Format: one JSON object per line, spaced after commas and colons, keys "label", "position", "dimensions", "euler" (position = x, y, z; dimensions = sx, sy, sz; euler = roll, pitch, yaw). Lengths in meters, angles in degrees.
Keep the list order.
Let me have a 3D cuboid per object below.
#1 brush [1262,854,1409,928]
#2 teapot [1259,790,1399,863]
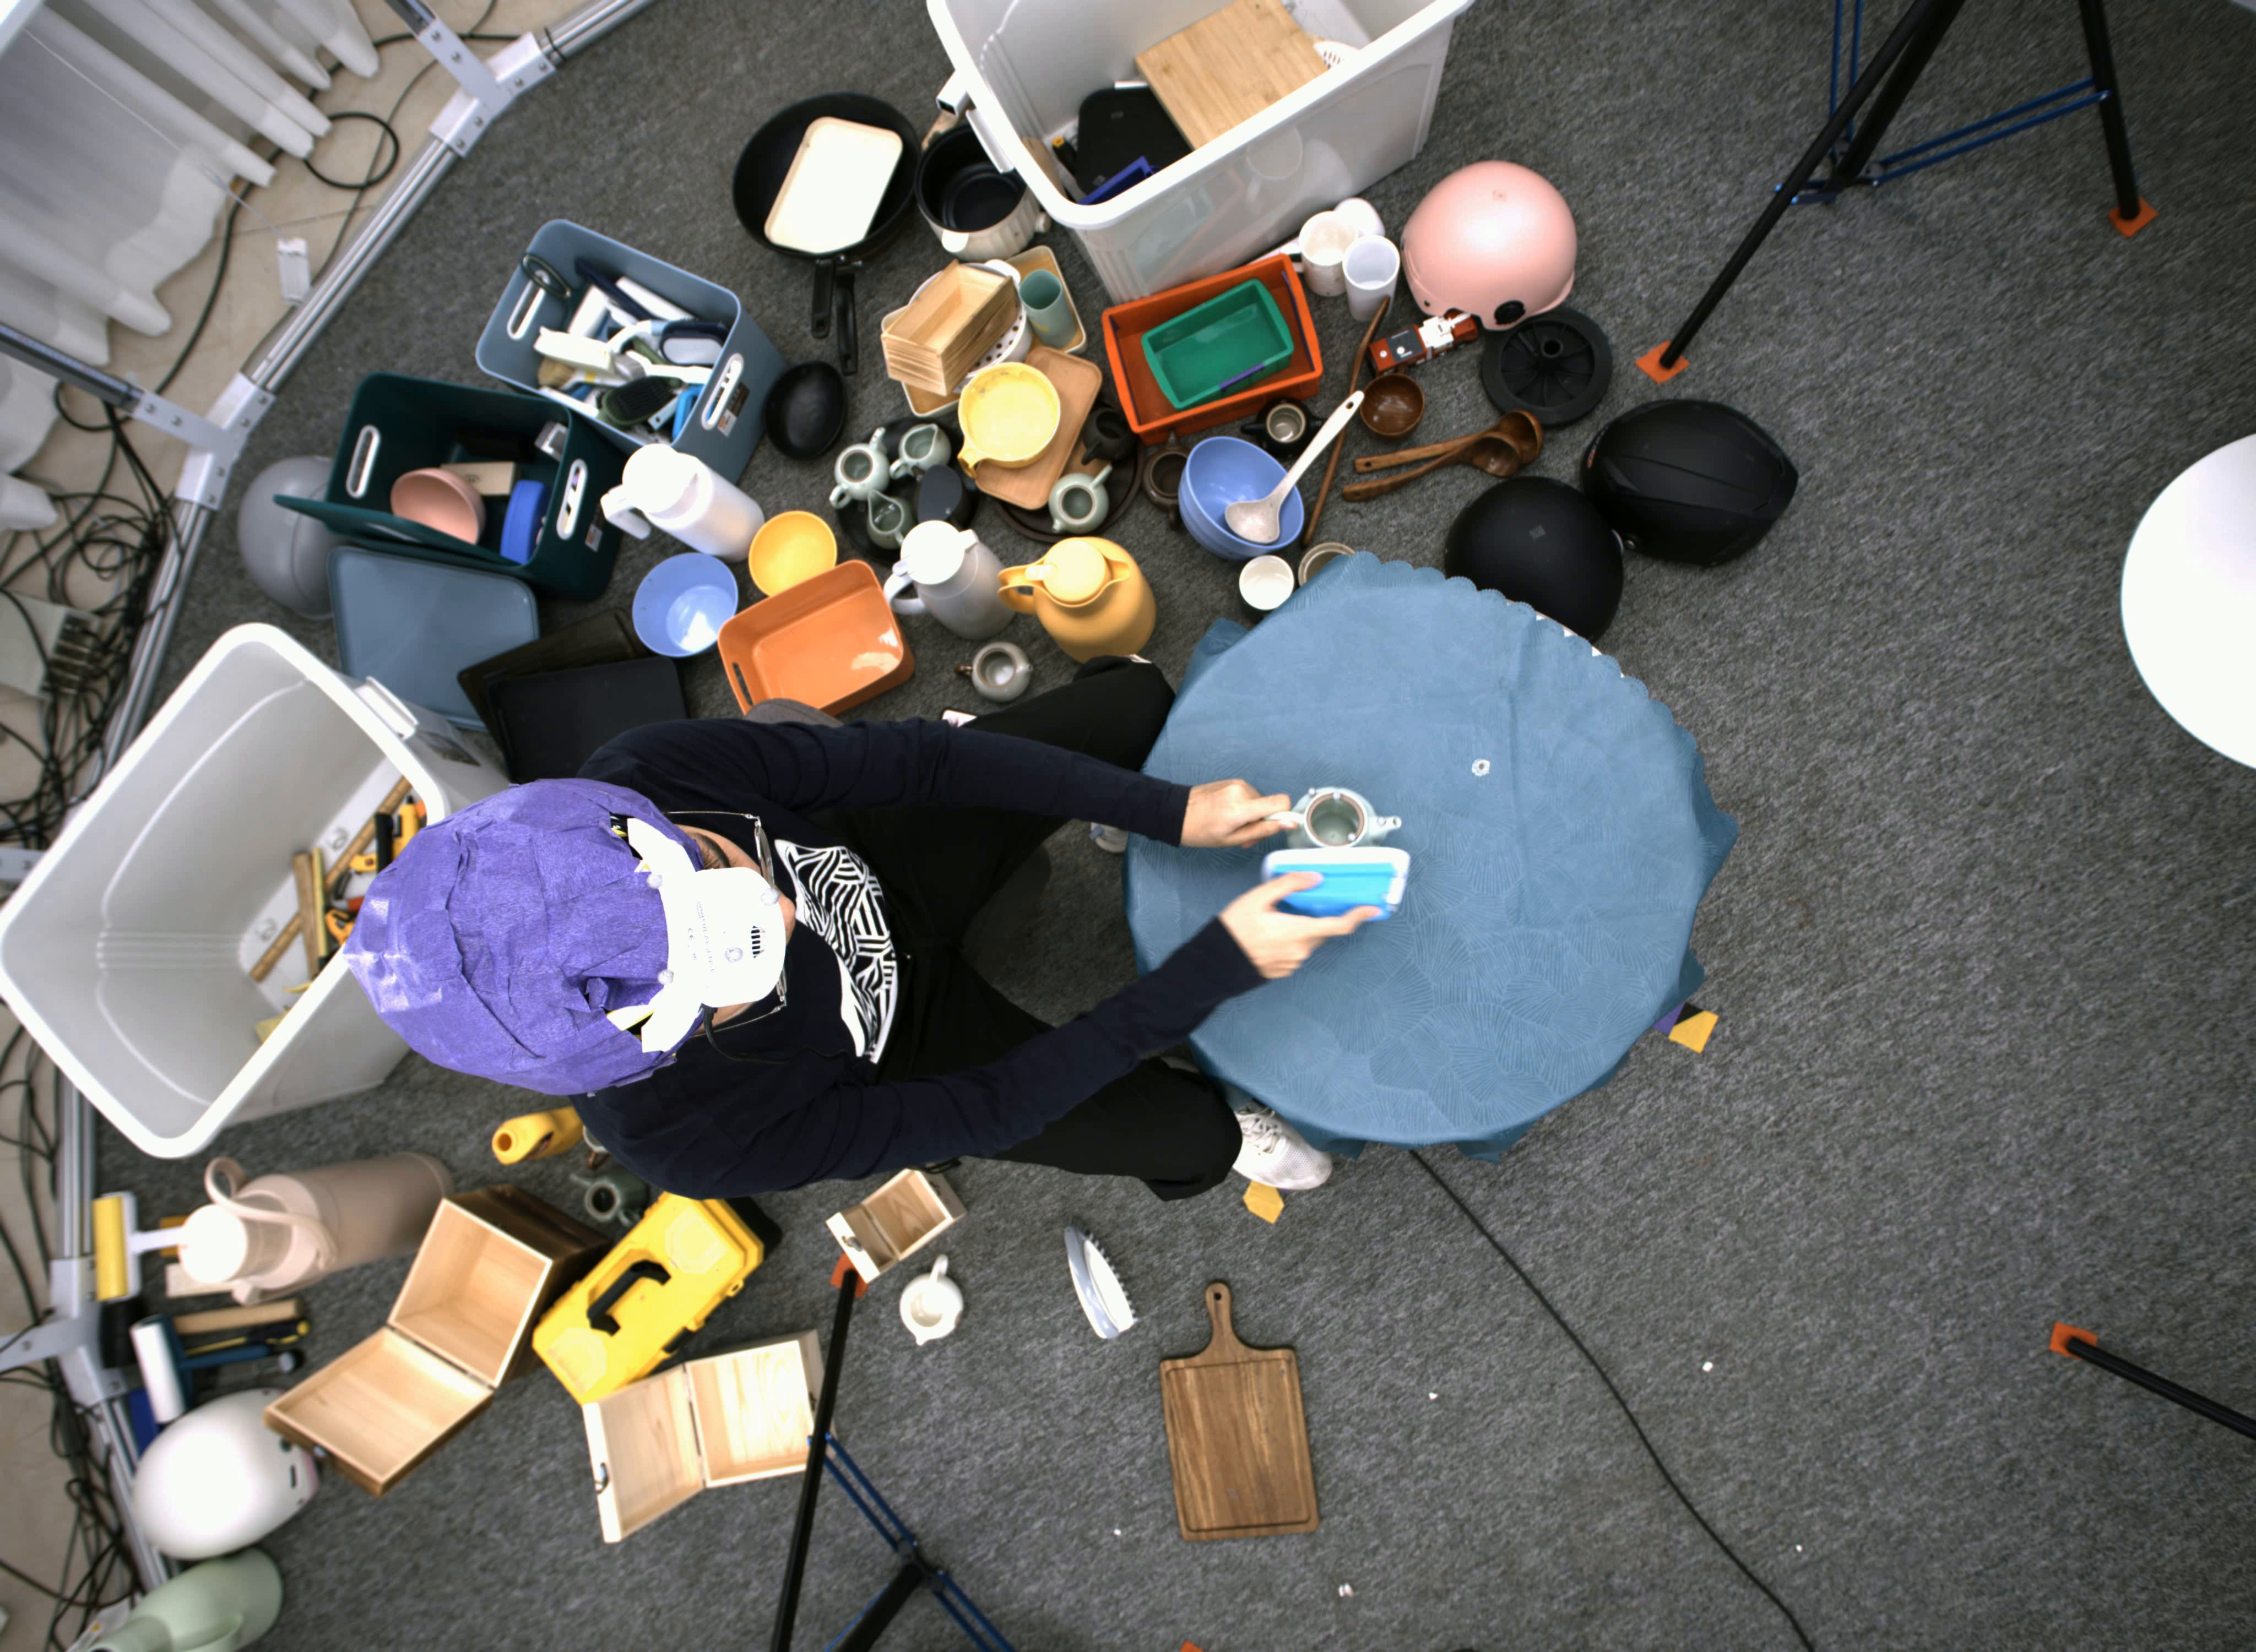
{"label": "brush", "position": [0.206, 0.071, 1.359], "dimensions": [0.144, 0.086, 0.054], "euler": [-2, 44, -5]}
{"label": "teapot", "position": [0.200, 0.005, 1.383], "dimensions": [0.137, 0.062, 0.095], "euler": [2, 73, 6]}
